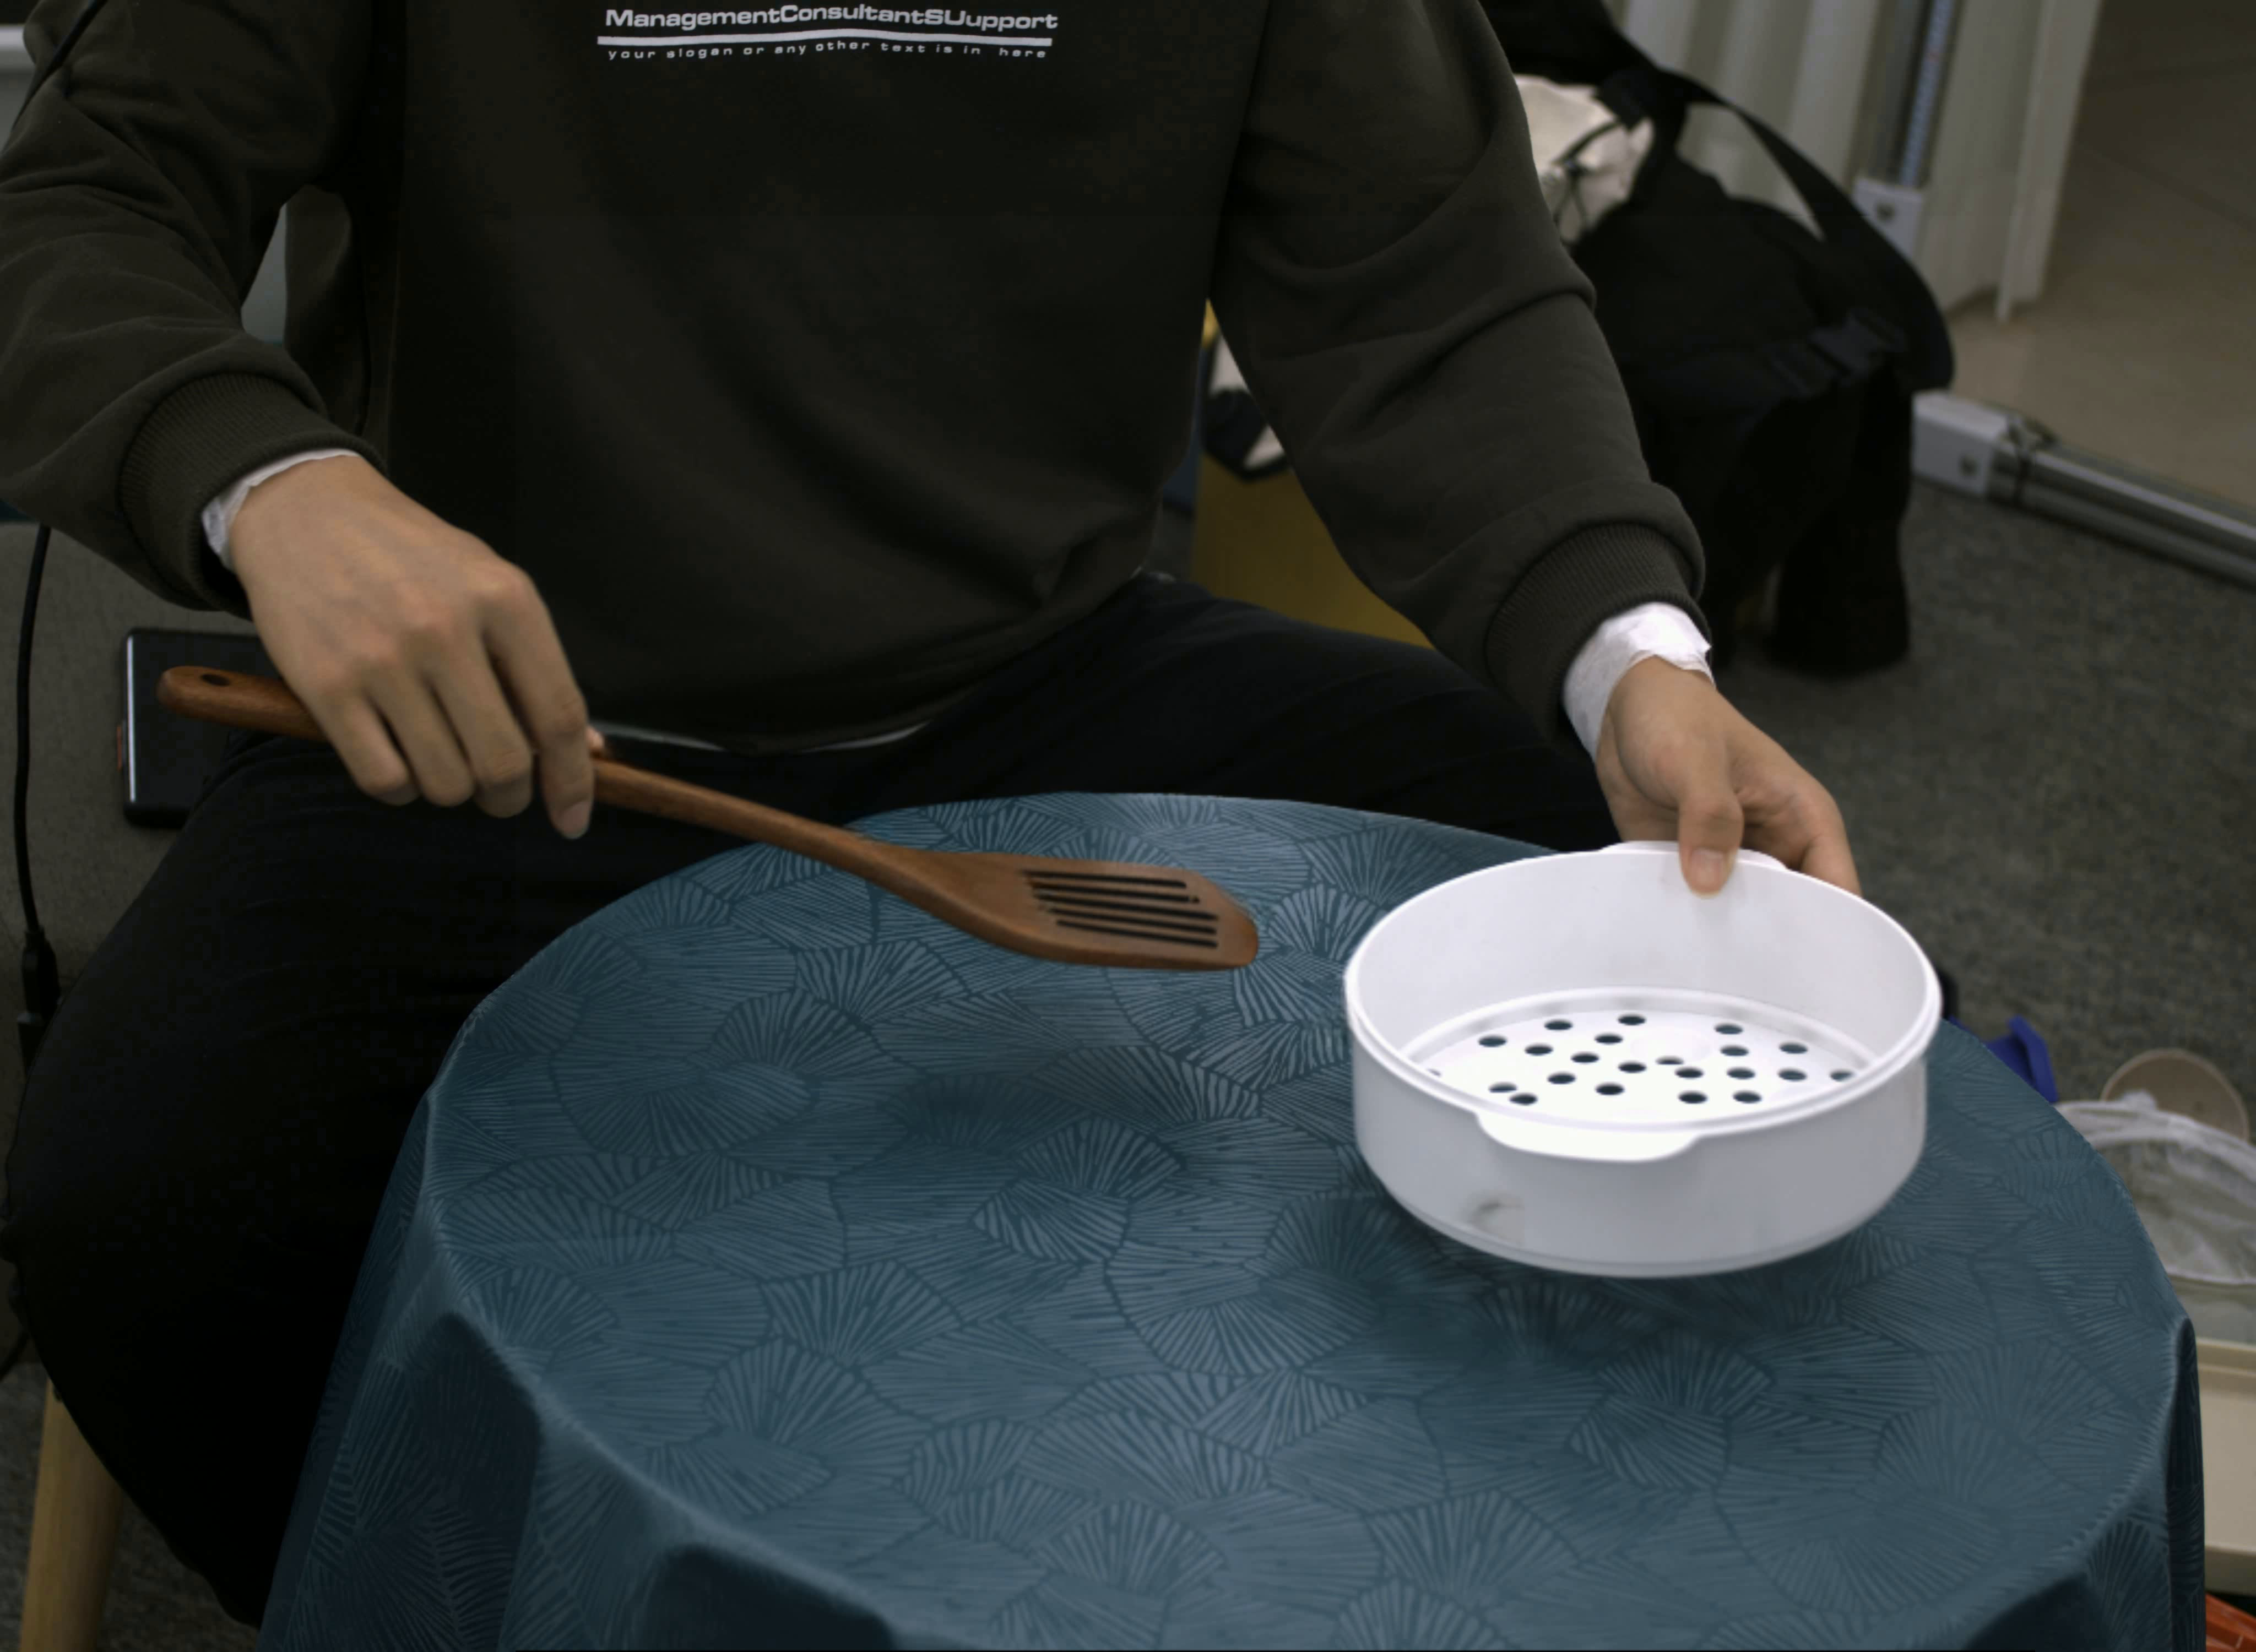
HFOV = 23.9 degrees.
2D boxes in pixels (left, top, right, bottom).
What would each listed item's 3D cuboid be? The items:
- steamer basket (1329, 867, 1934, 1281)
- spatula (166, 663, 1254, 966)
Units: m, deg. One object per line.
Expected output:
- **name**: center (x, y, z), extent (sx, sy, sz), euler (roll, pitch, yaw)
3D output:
- **steamer basket**: center (0.168, 0.084, 1.793), extent (0.202, 0.069, 0.231), euler (7, 24, 15)
- **spatula**: center (-0.138, -0.003, 1.808), extent (0.382, 0.023, 0.086), euler (14, 19, -18)
